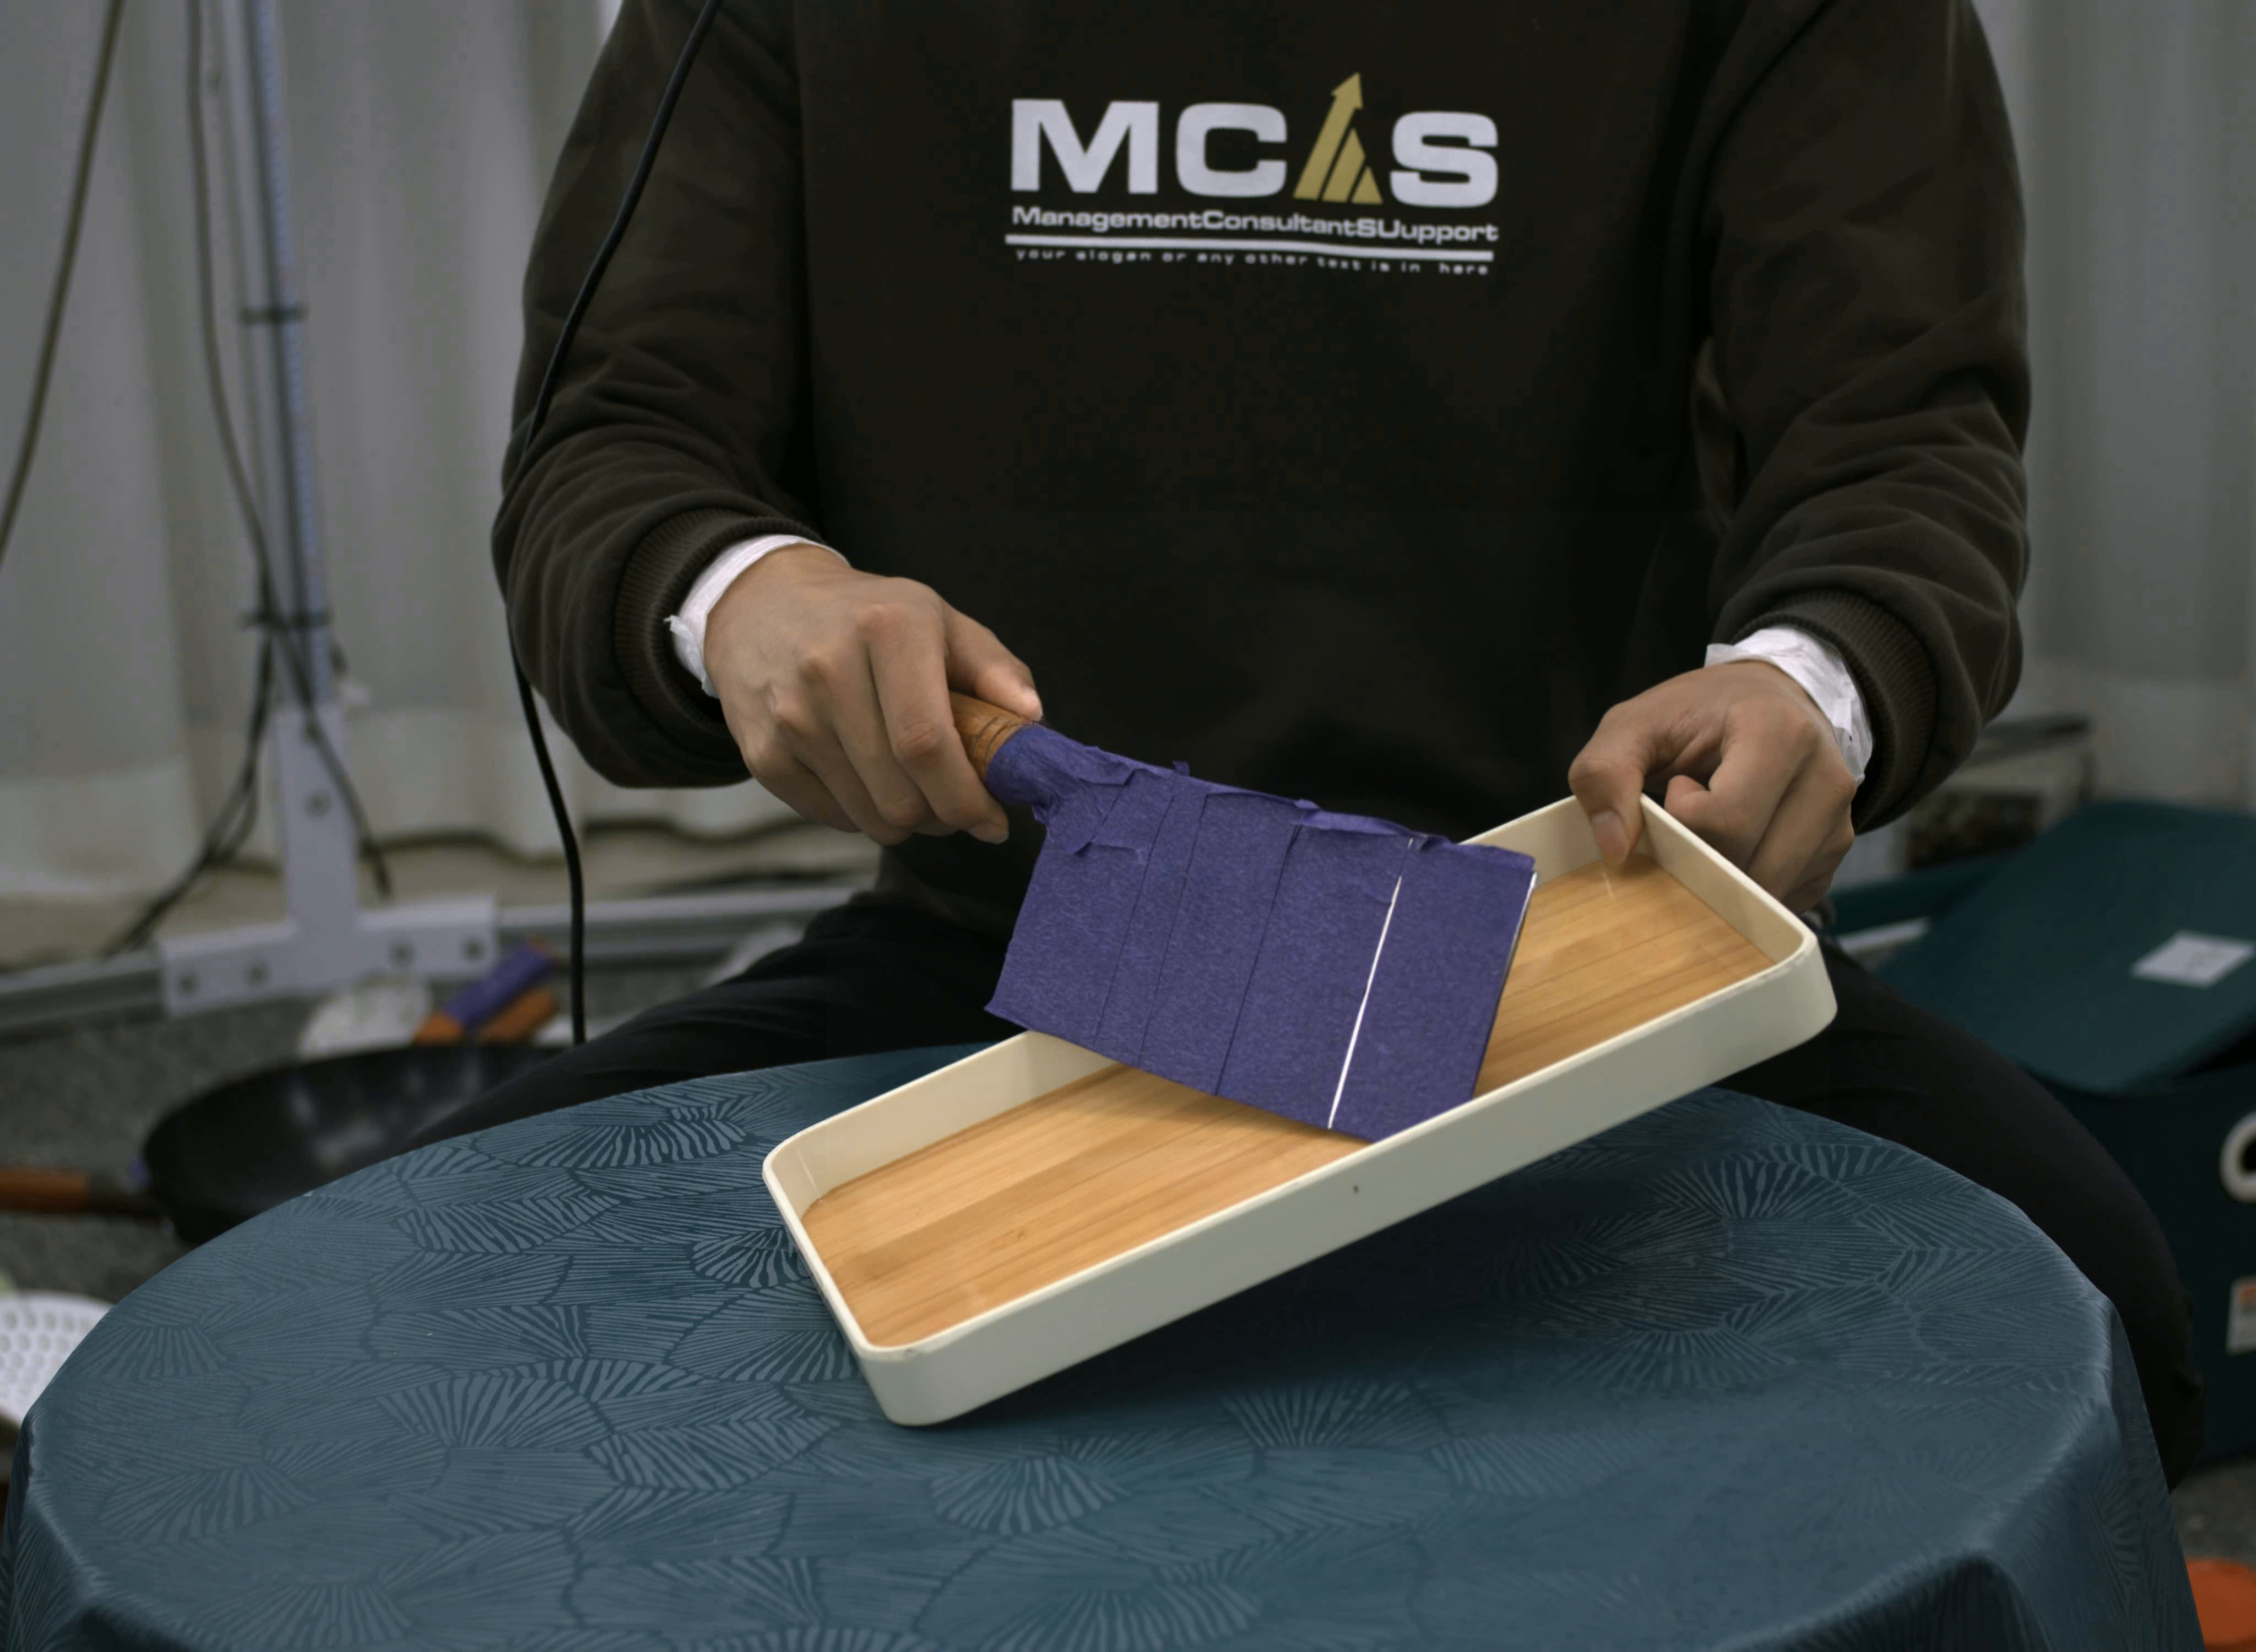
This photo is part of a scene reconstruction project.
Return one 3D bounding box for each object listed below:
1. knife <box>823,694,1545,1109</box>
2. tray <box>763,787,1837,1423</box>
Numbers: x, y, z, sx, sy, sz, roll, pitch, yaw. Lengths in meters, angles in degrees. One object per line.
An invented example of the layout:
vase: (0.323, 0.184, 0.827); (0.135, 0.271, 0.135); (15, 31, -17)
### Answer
knife: (0.002, 0.021, 1.670); (0.032, 0.104, 0.317); (23, -6, -40)
tray: (0.046, 0.078, 1.621); (0.299, 0.027, 0.193); (-23, 19, -7)
